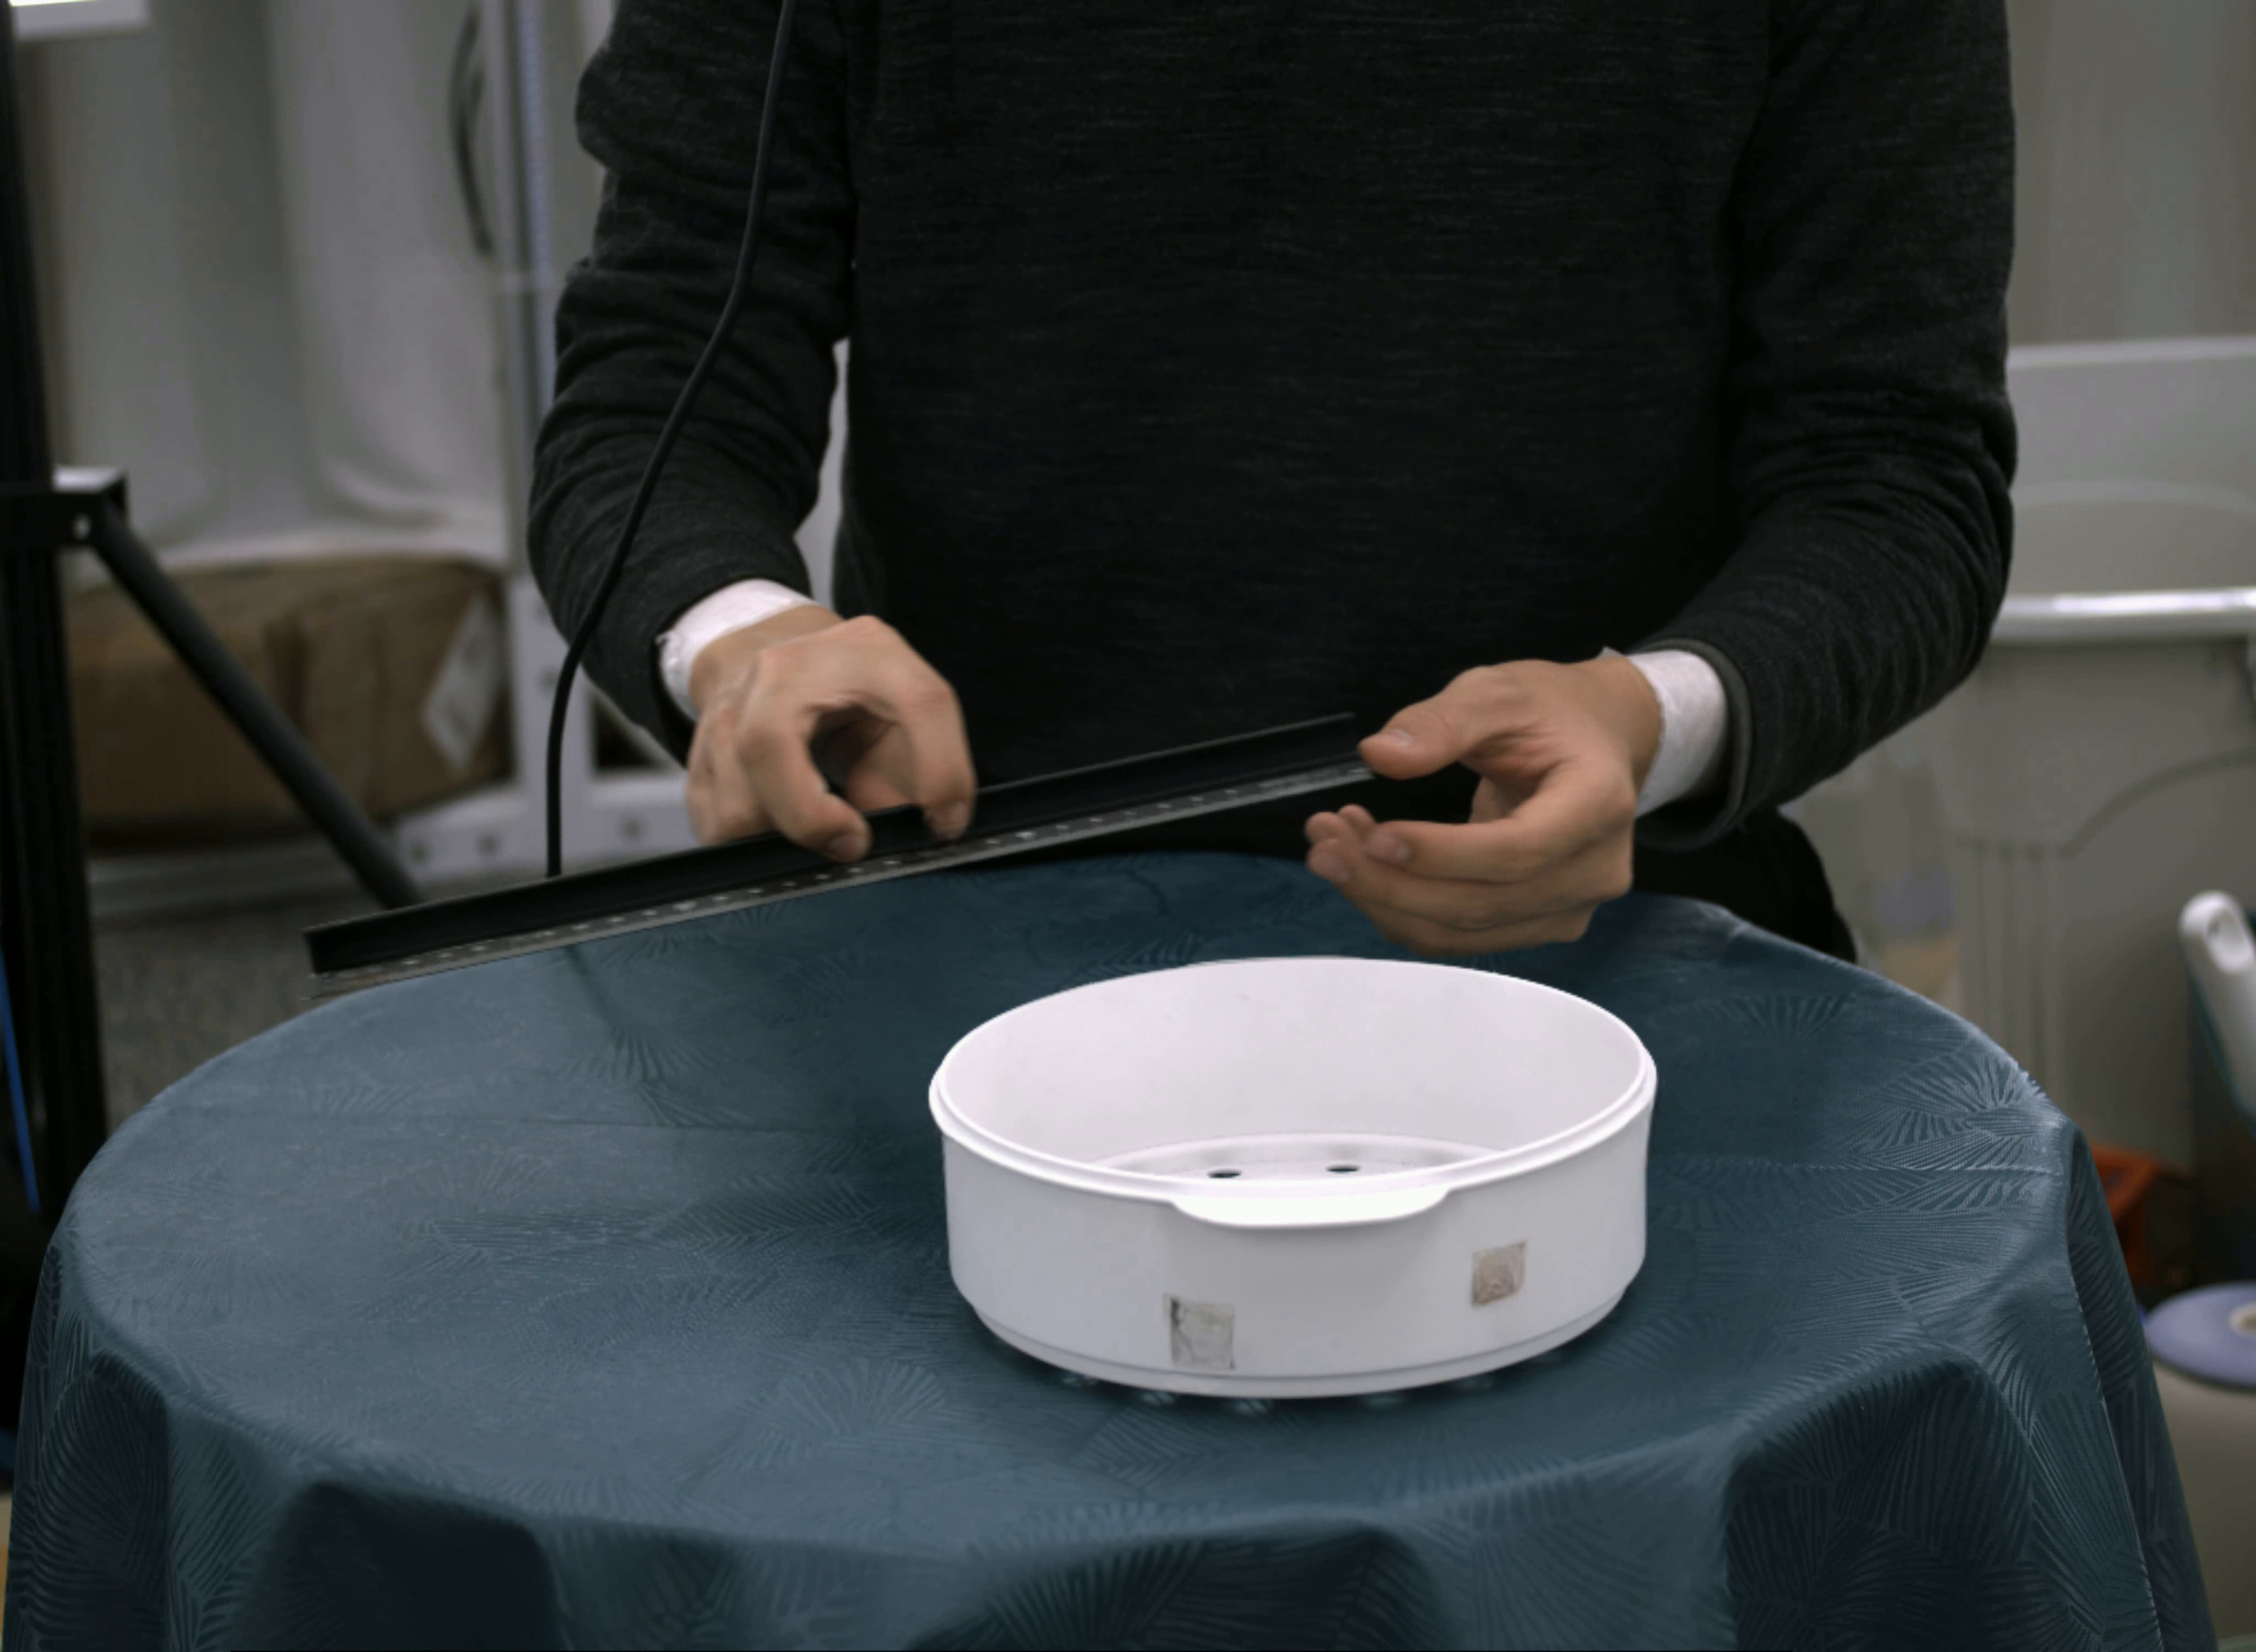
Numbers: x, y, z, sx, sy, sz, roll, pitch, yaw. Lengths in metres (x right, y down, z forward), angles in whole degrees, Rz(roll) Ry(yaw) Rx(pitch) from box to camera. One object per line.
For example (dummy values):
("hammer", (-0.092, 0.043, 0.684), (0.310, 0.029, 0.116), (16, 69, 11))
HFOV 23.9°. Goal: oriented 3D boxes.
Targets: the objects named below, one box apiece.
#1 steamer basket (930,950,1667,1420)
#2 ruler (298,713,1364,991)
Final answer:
("steamer basket", (0.047, 0.098, 1.458), (0.201, 0.069, 0.232), (-2, 18, 0))
("ruler", (-0.087, 0.008, 1.531), (0.311, 0.017, 0.039), (-12, 13, 1))
